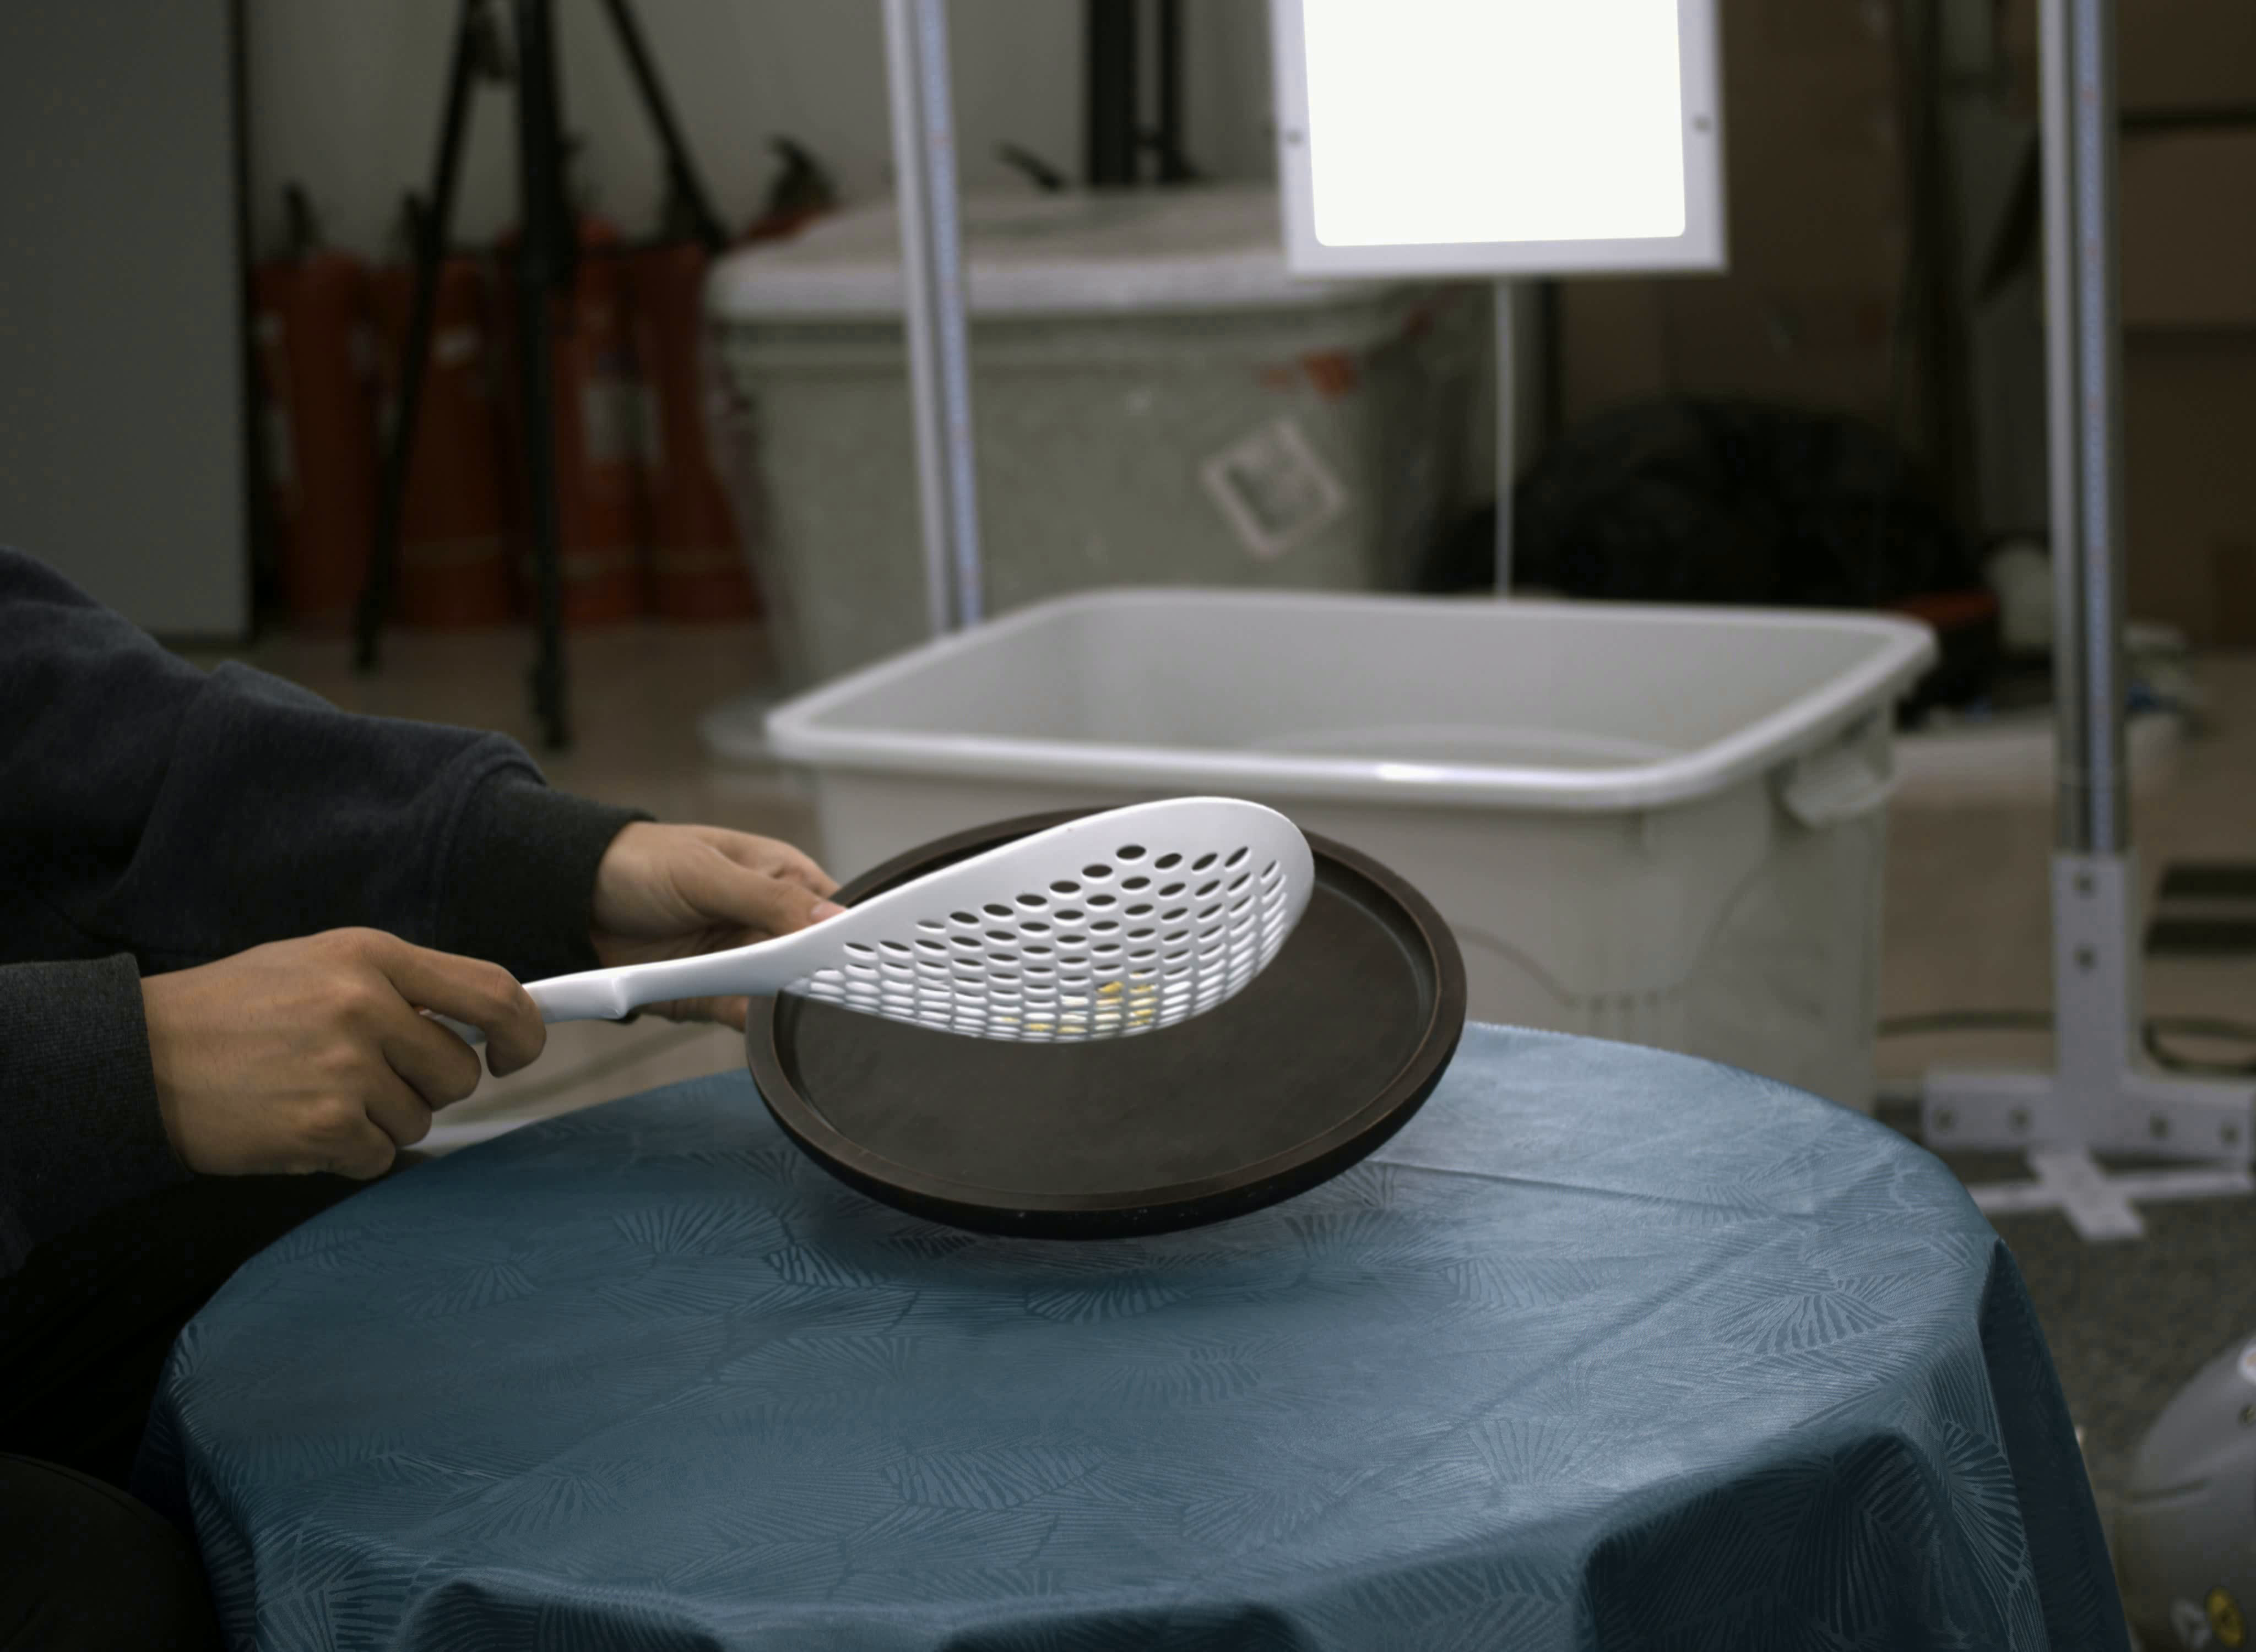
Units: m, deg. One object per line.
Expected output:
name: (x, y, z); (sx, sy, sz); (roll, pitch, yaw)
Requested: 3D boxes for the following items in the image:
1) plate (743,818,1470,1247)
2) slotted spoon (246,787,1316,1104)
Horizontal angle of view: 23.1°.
plate: (-0.007, 0.069, 1.915); (0.254, 0.029, 0.254); (-5, 33, 2)
slotted spoon: (-0.107, 0.052, 1.754); (0.345, 0.050, 0.137); (-5, -27, -6)
